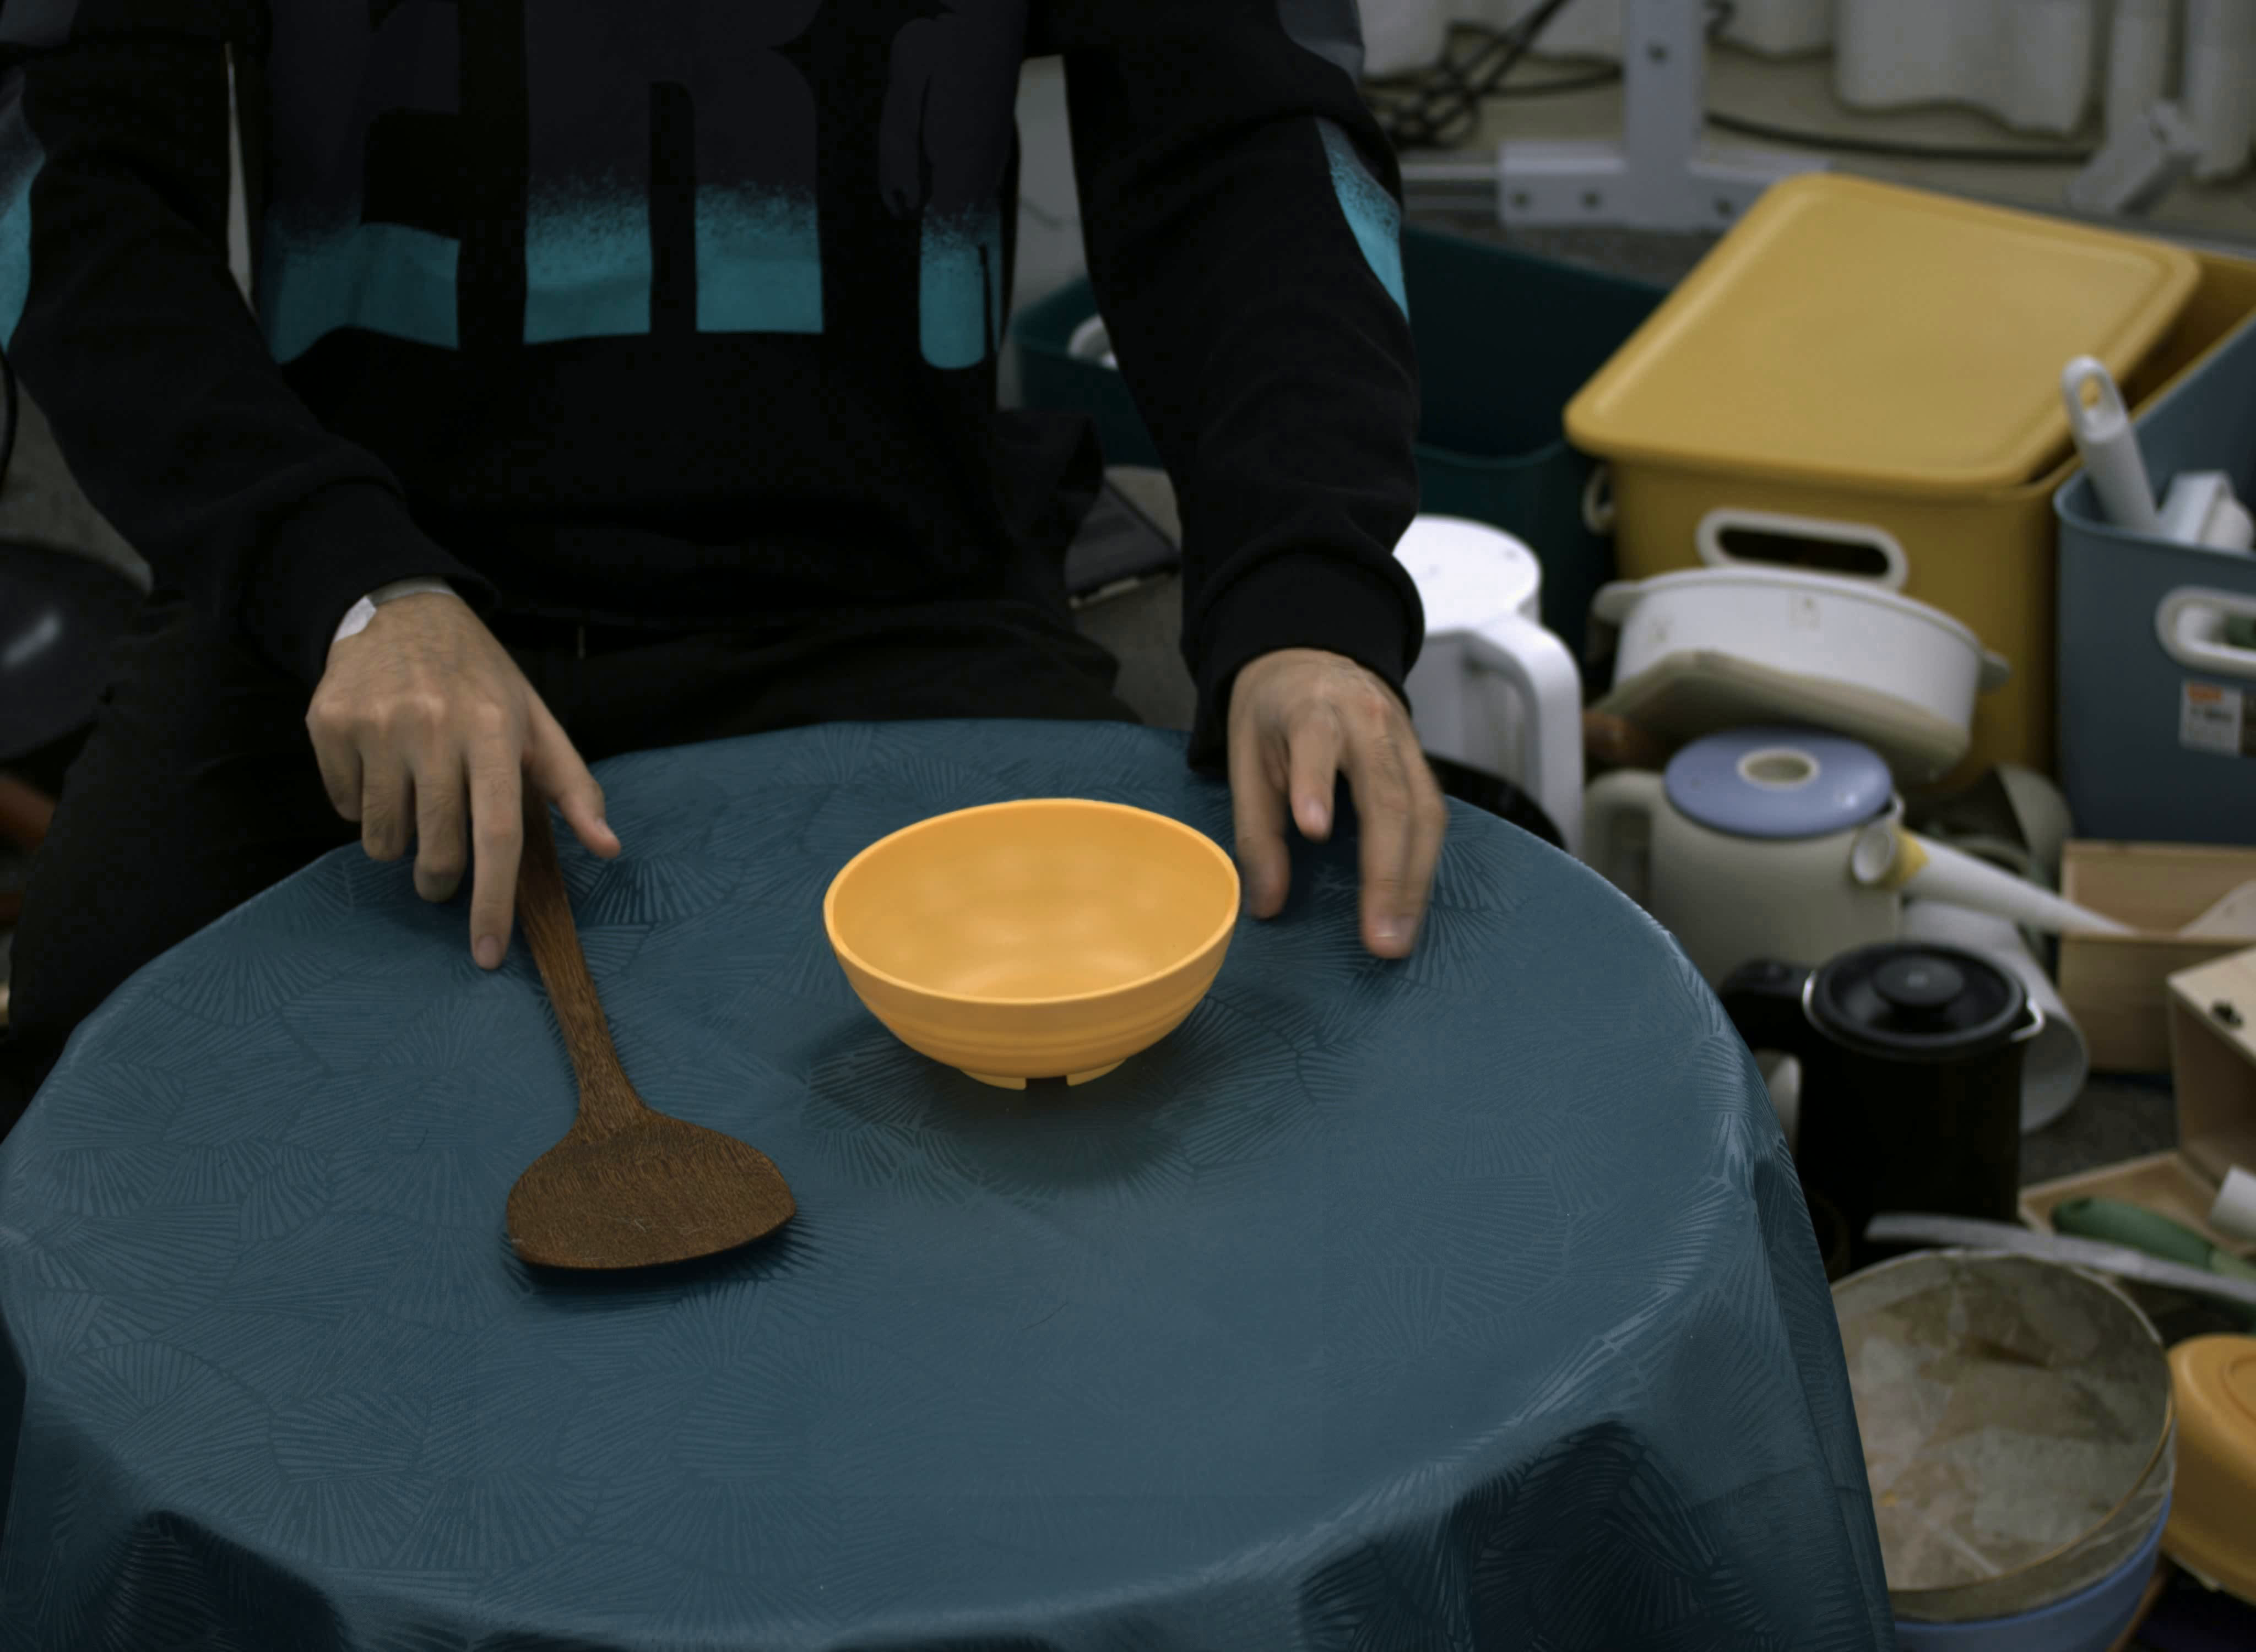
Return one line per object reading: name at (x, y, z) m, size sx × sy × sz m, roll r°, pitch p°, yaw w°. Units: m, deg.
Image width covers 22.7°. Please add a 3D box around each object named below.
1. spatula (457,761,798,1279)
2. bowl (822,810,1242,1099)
spatula at (-0.196, 0.060, 1.982) m, size 0.096 × 0.015 × 0.390 m, roll -8°, pitch 28°, yaw -12°
bowl at (-0.033, 0.053, 1.939) m, size 0.144 × 0.059 × 0.147 m, roll 0°, pitch 26°, yaw 1°
